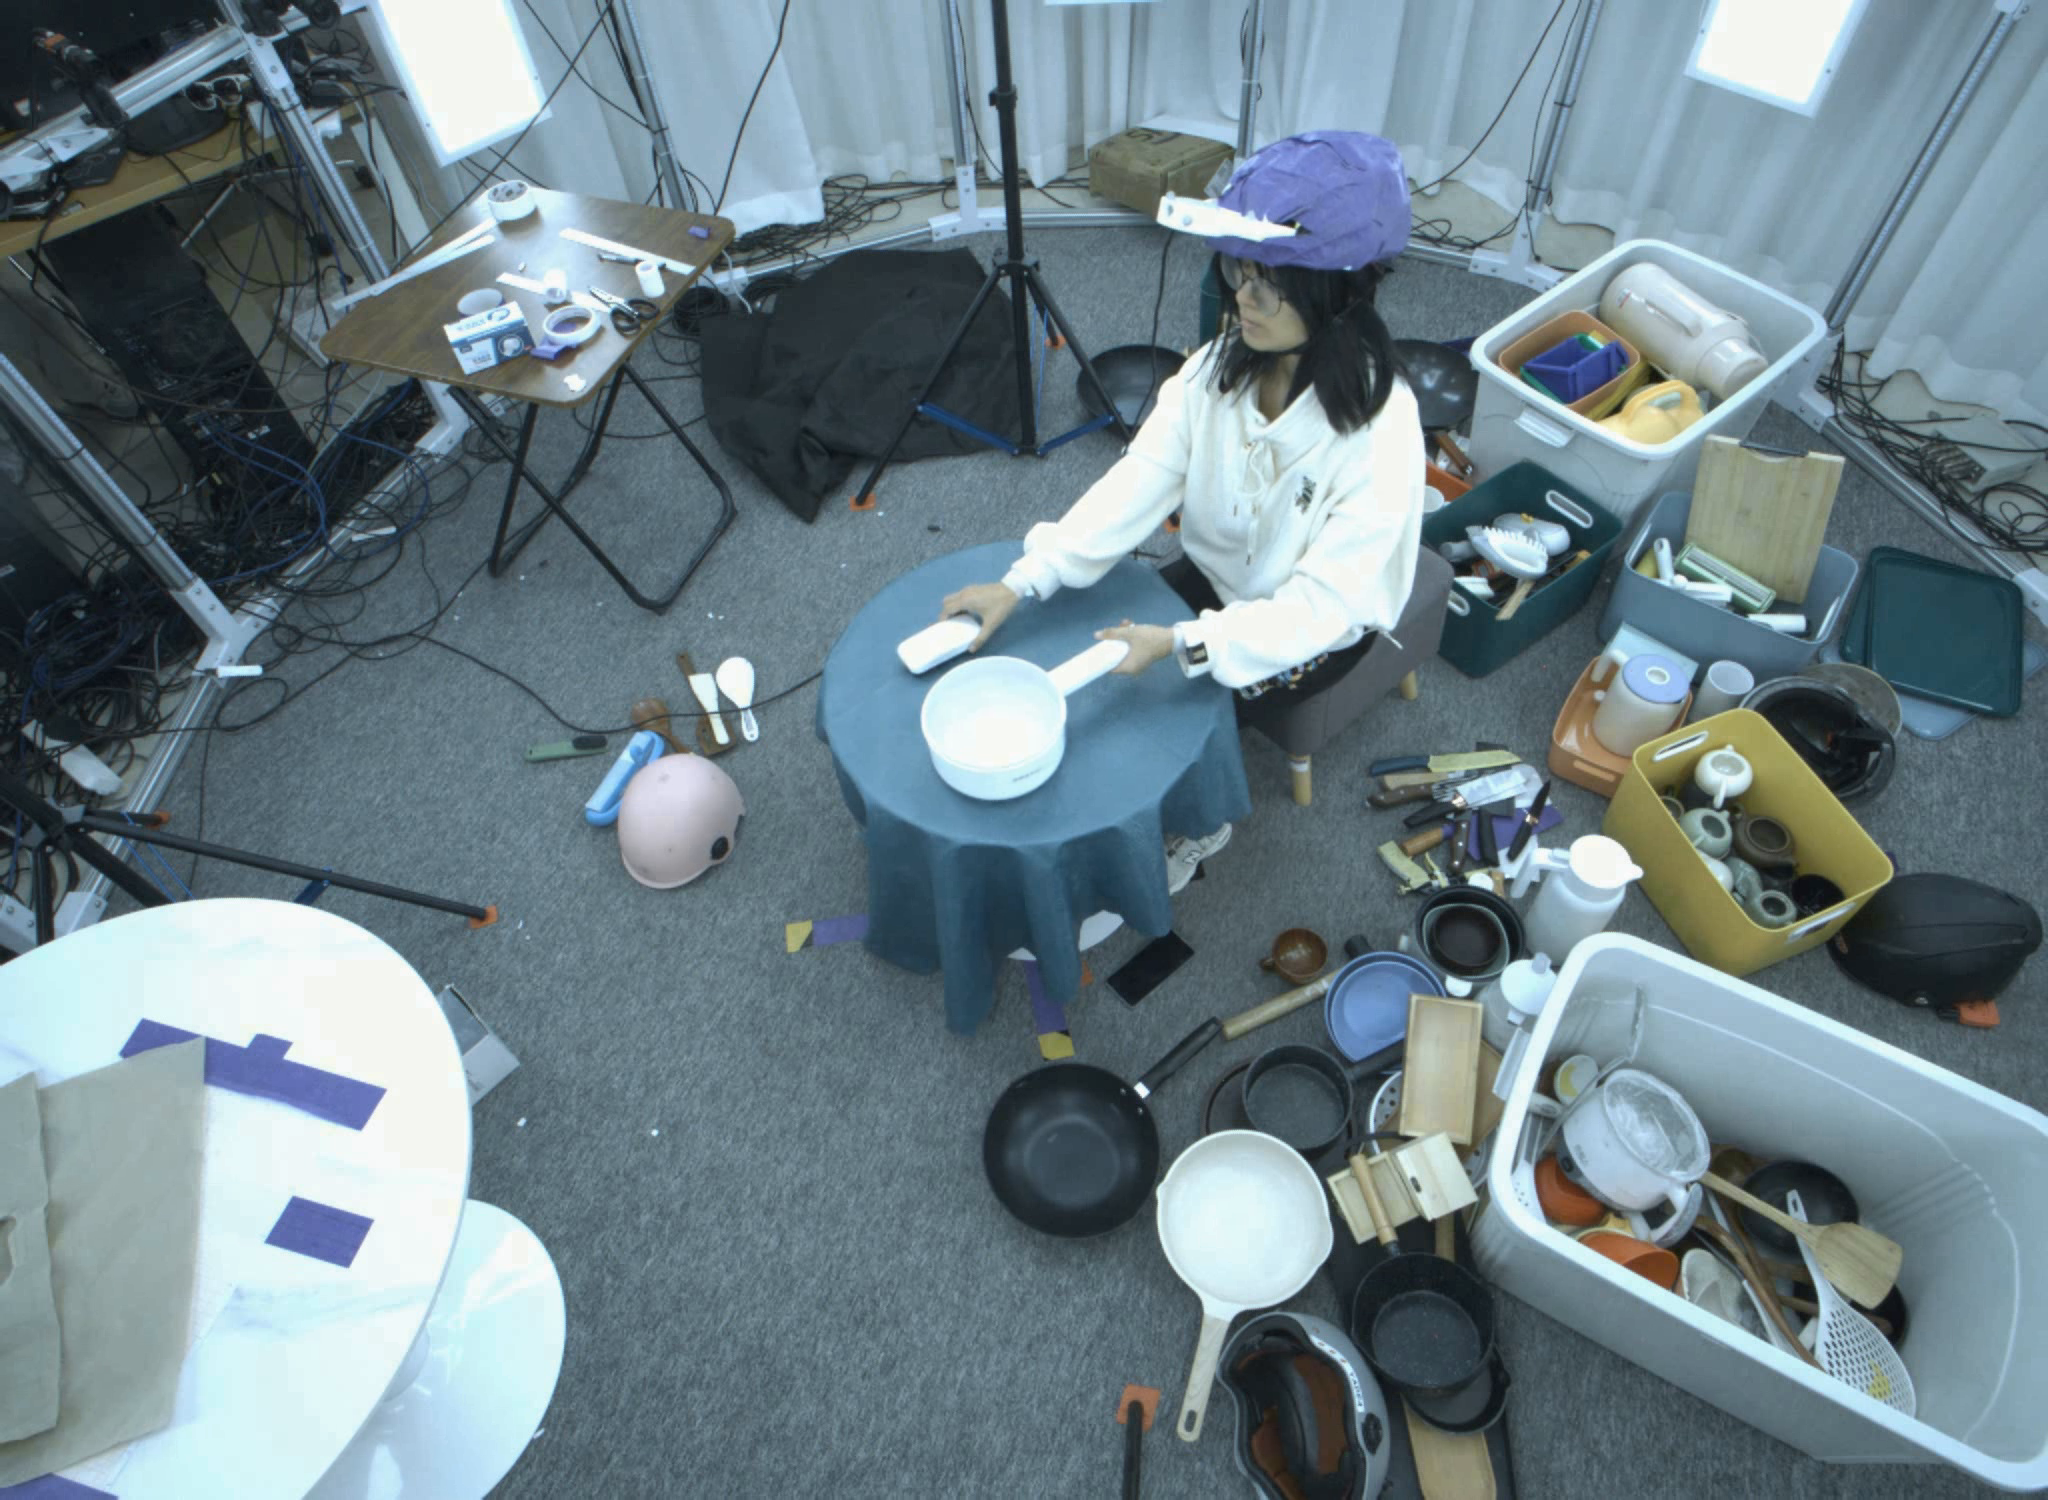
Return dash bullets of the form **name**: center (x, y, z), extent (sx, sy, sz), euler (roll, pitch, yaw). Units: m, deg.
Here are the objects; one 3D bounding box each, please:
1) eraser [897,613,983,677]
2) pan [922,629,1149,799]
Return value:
- **eraser**: center (-0.129, -0.162, 1.887), extent (0.132, 0.035, 0.062), euler (-28, 58, -16)
- **pan**: center (0.023, -0.062, 1.769), extent (0.358, 0.103, 0.197), euler (-29, 60, -20)
